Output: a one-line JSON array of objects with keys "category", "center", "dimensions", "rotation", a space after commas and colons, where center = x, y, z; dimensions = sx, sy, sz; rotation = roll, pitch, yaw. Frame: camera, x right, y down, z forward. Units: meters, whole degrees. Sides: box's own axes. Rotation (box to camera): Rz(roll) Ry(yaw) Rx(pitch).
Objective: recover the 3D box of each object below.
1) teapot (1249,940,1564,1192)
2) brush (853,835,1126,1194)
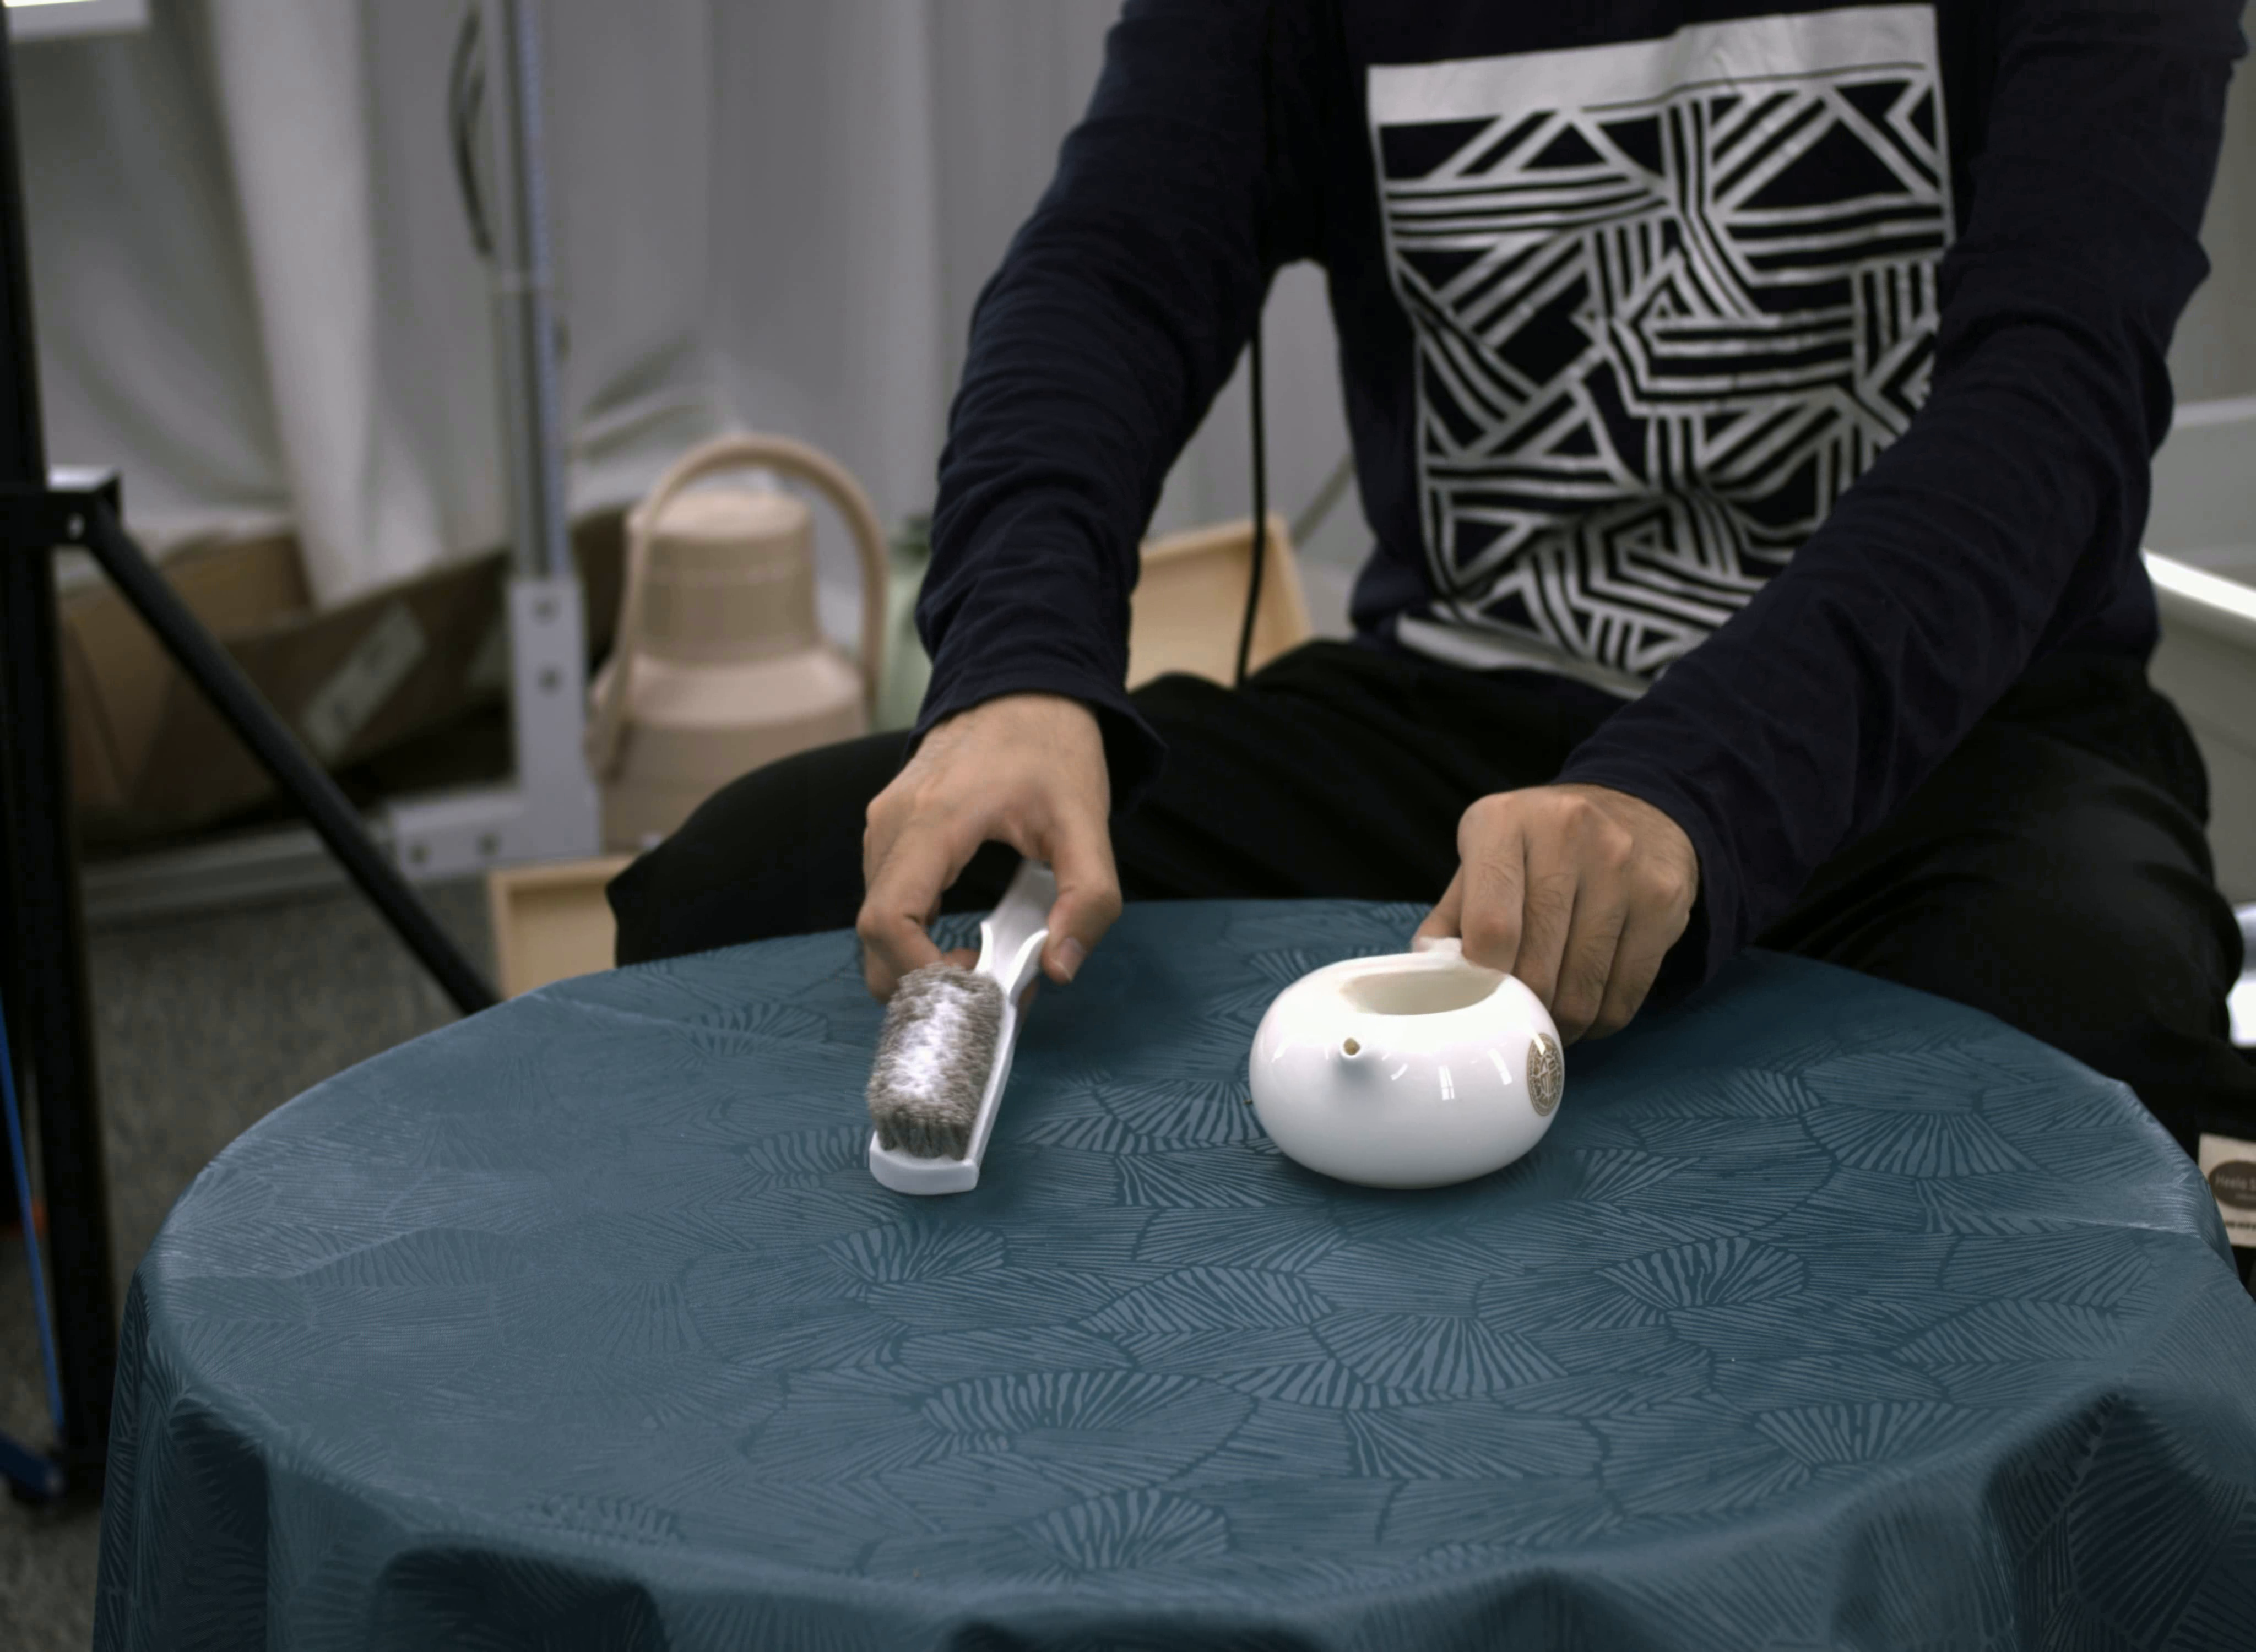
[{"category": "teapot", "center": [0.086, 0.071, 1.581], "dimensions": [0.094, 0.056, 0.126], "rotation": [-2, 14, 18]}, {"category": "brush", "center": [-0.039, 0.040, 1.654], "dimensions": [0.034, 0.050, 0.242], "rotation": [3, 26, 14]}]
